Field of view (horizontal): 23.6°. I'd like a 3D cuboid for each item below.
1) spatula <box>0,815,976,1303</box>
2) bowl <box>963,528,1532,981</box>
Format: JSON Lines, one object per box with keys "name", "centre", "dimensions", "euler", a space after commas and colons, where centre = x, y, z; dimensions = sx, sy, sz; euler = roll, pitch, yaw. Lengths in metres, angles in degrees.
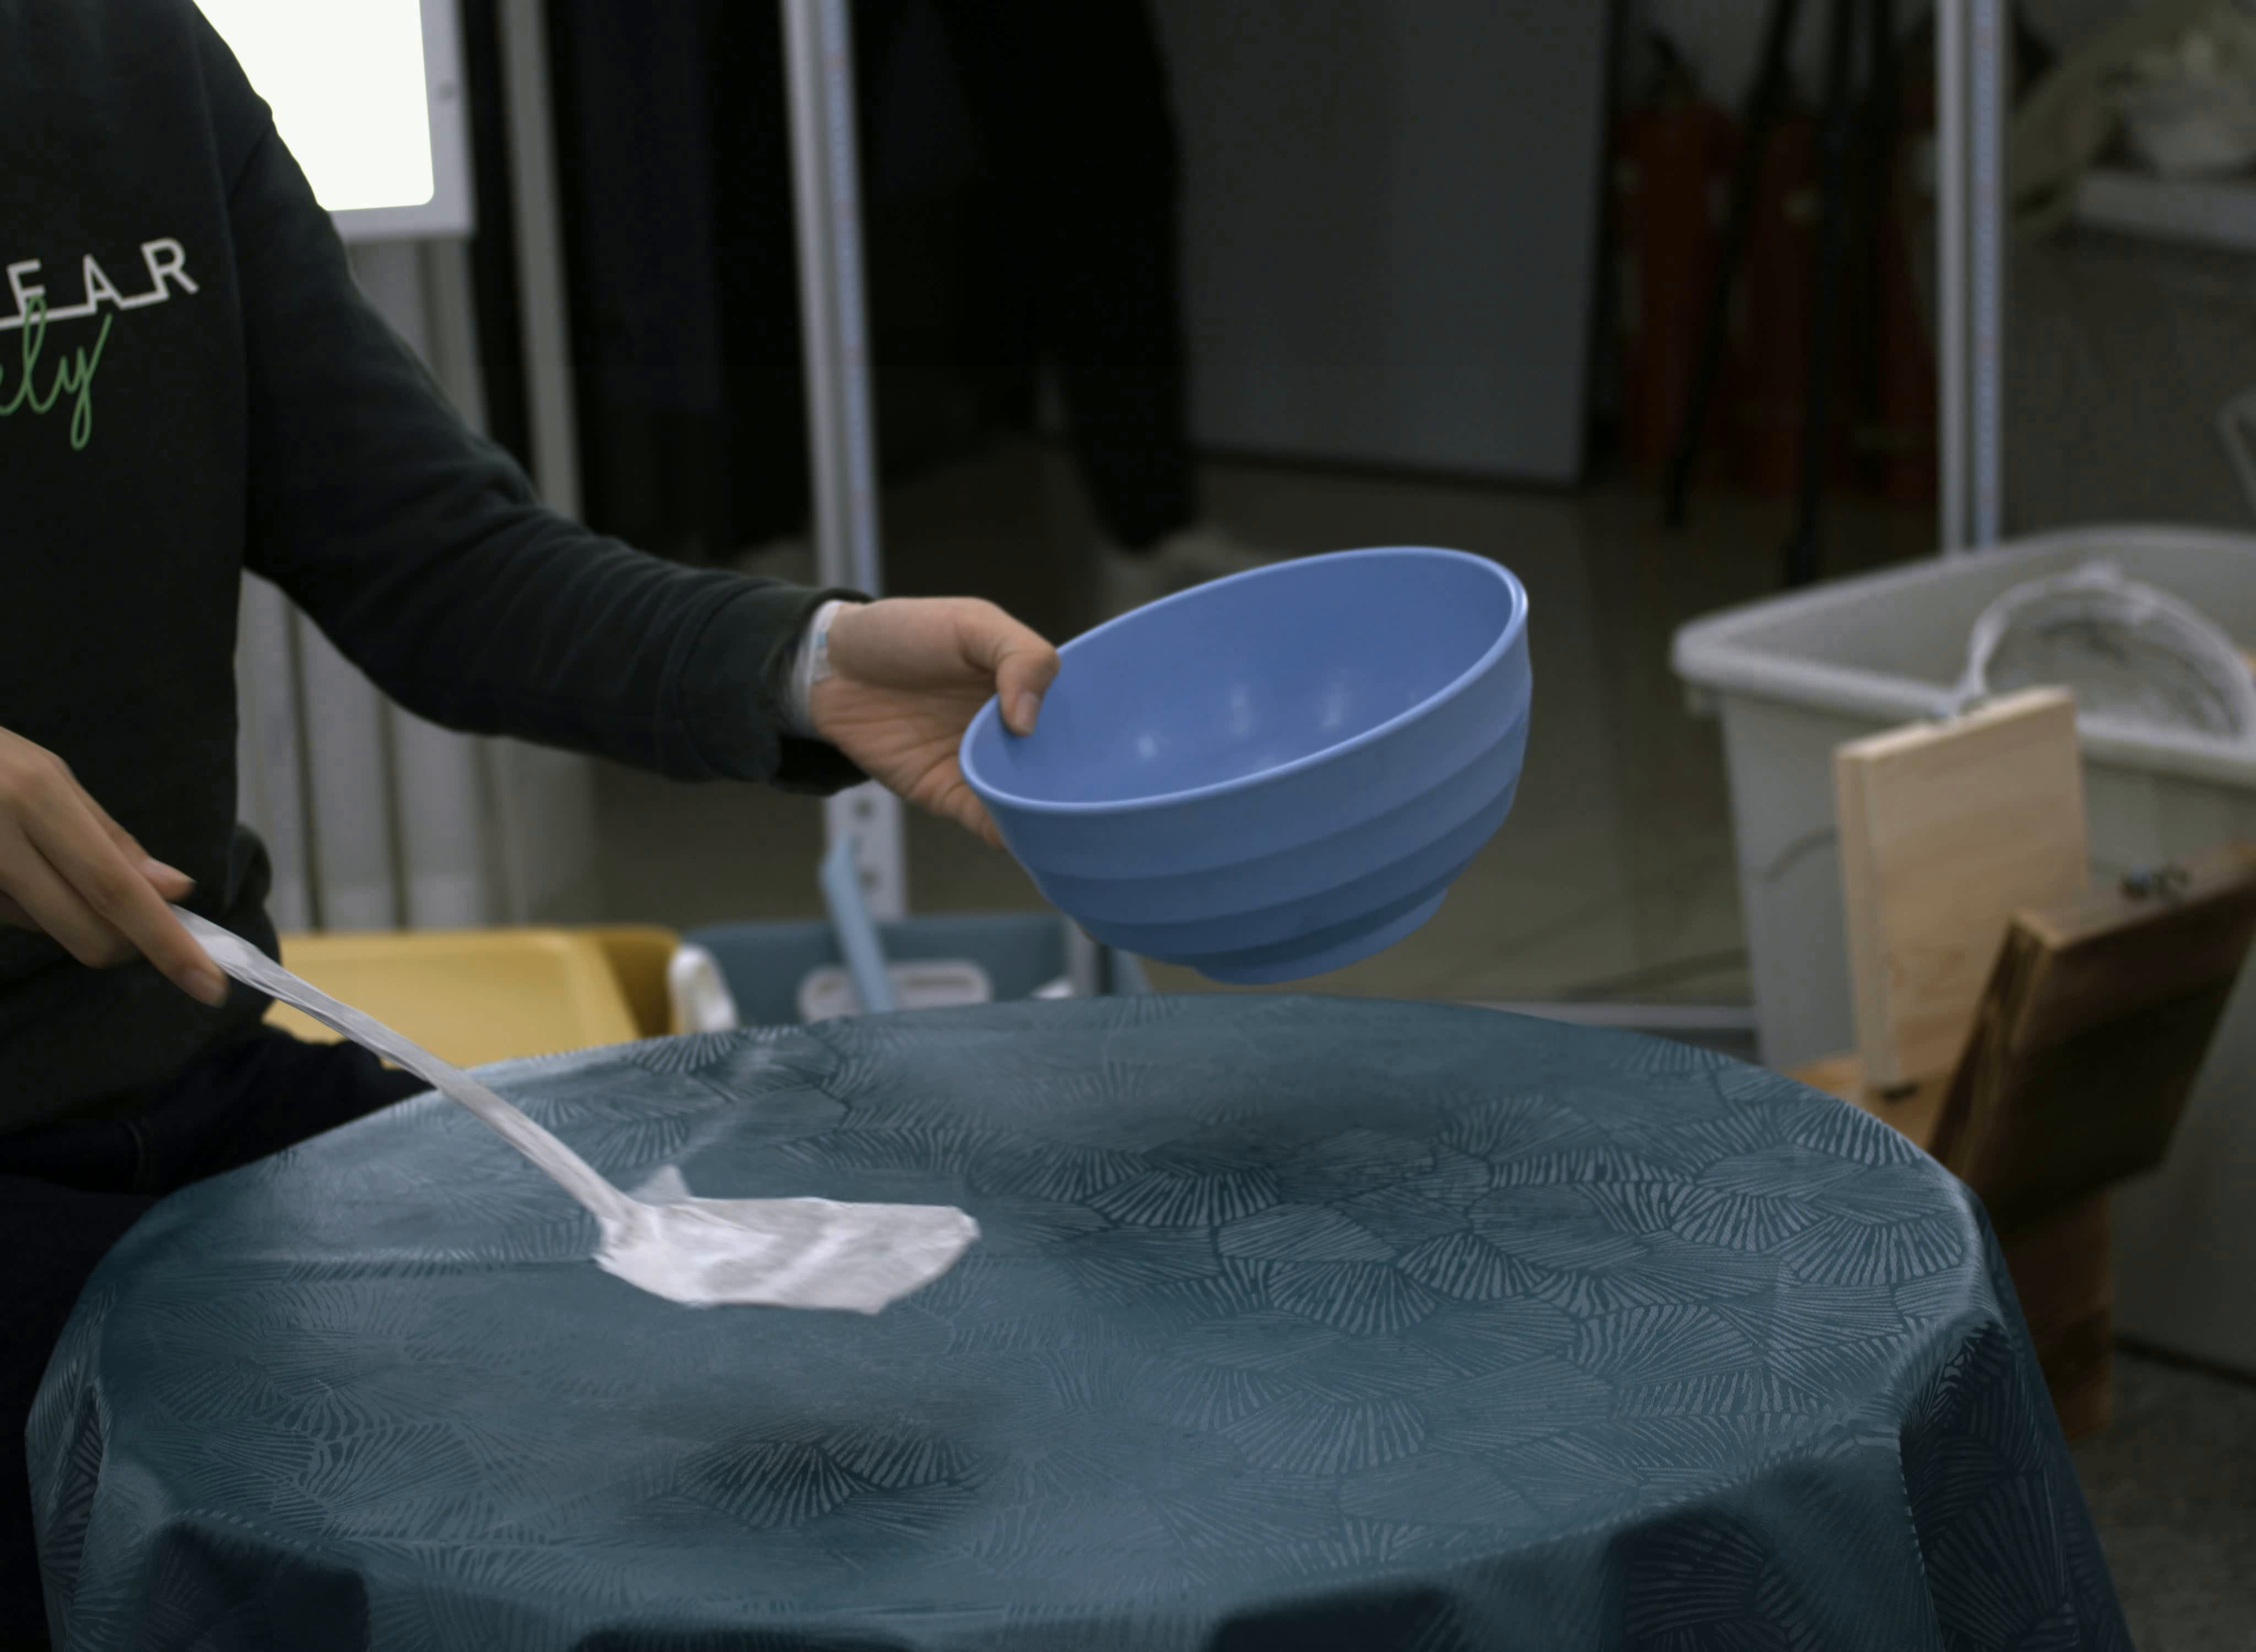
{"name": "spatula", "centre": [-0.212, 0.061, 1.590], "dimensions": [0.366, 0.045, 0.097], "euler": [28, 24, 19]}
{"name": "bowl", "centre": [0.051, -0.013, 1.788], "dimensions": [0.195, 0.096, 0.197], "euler": [-17, 22, 6]}
